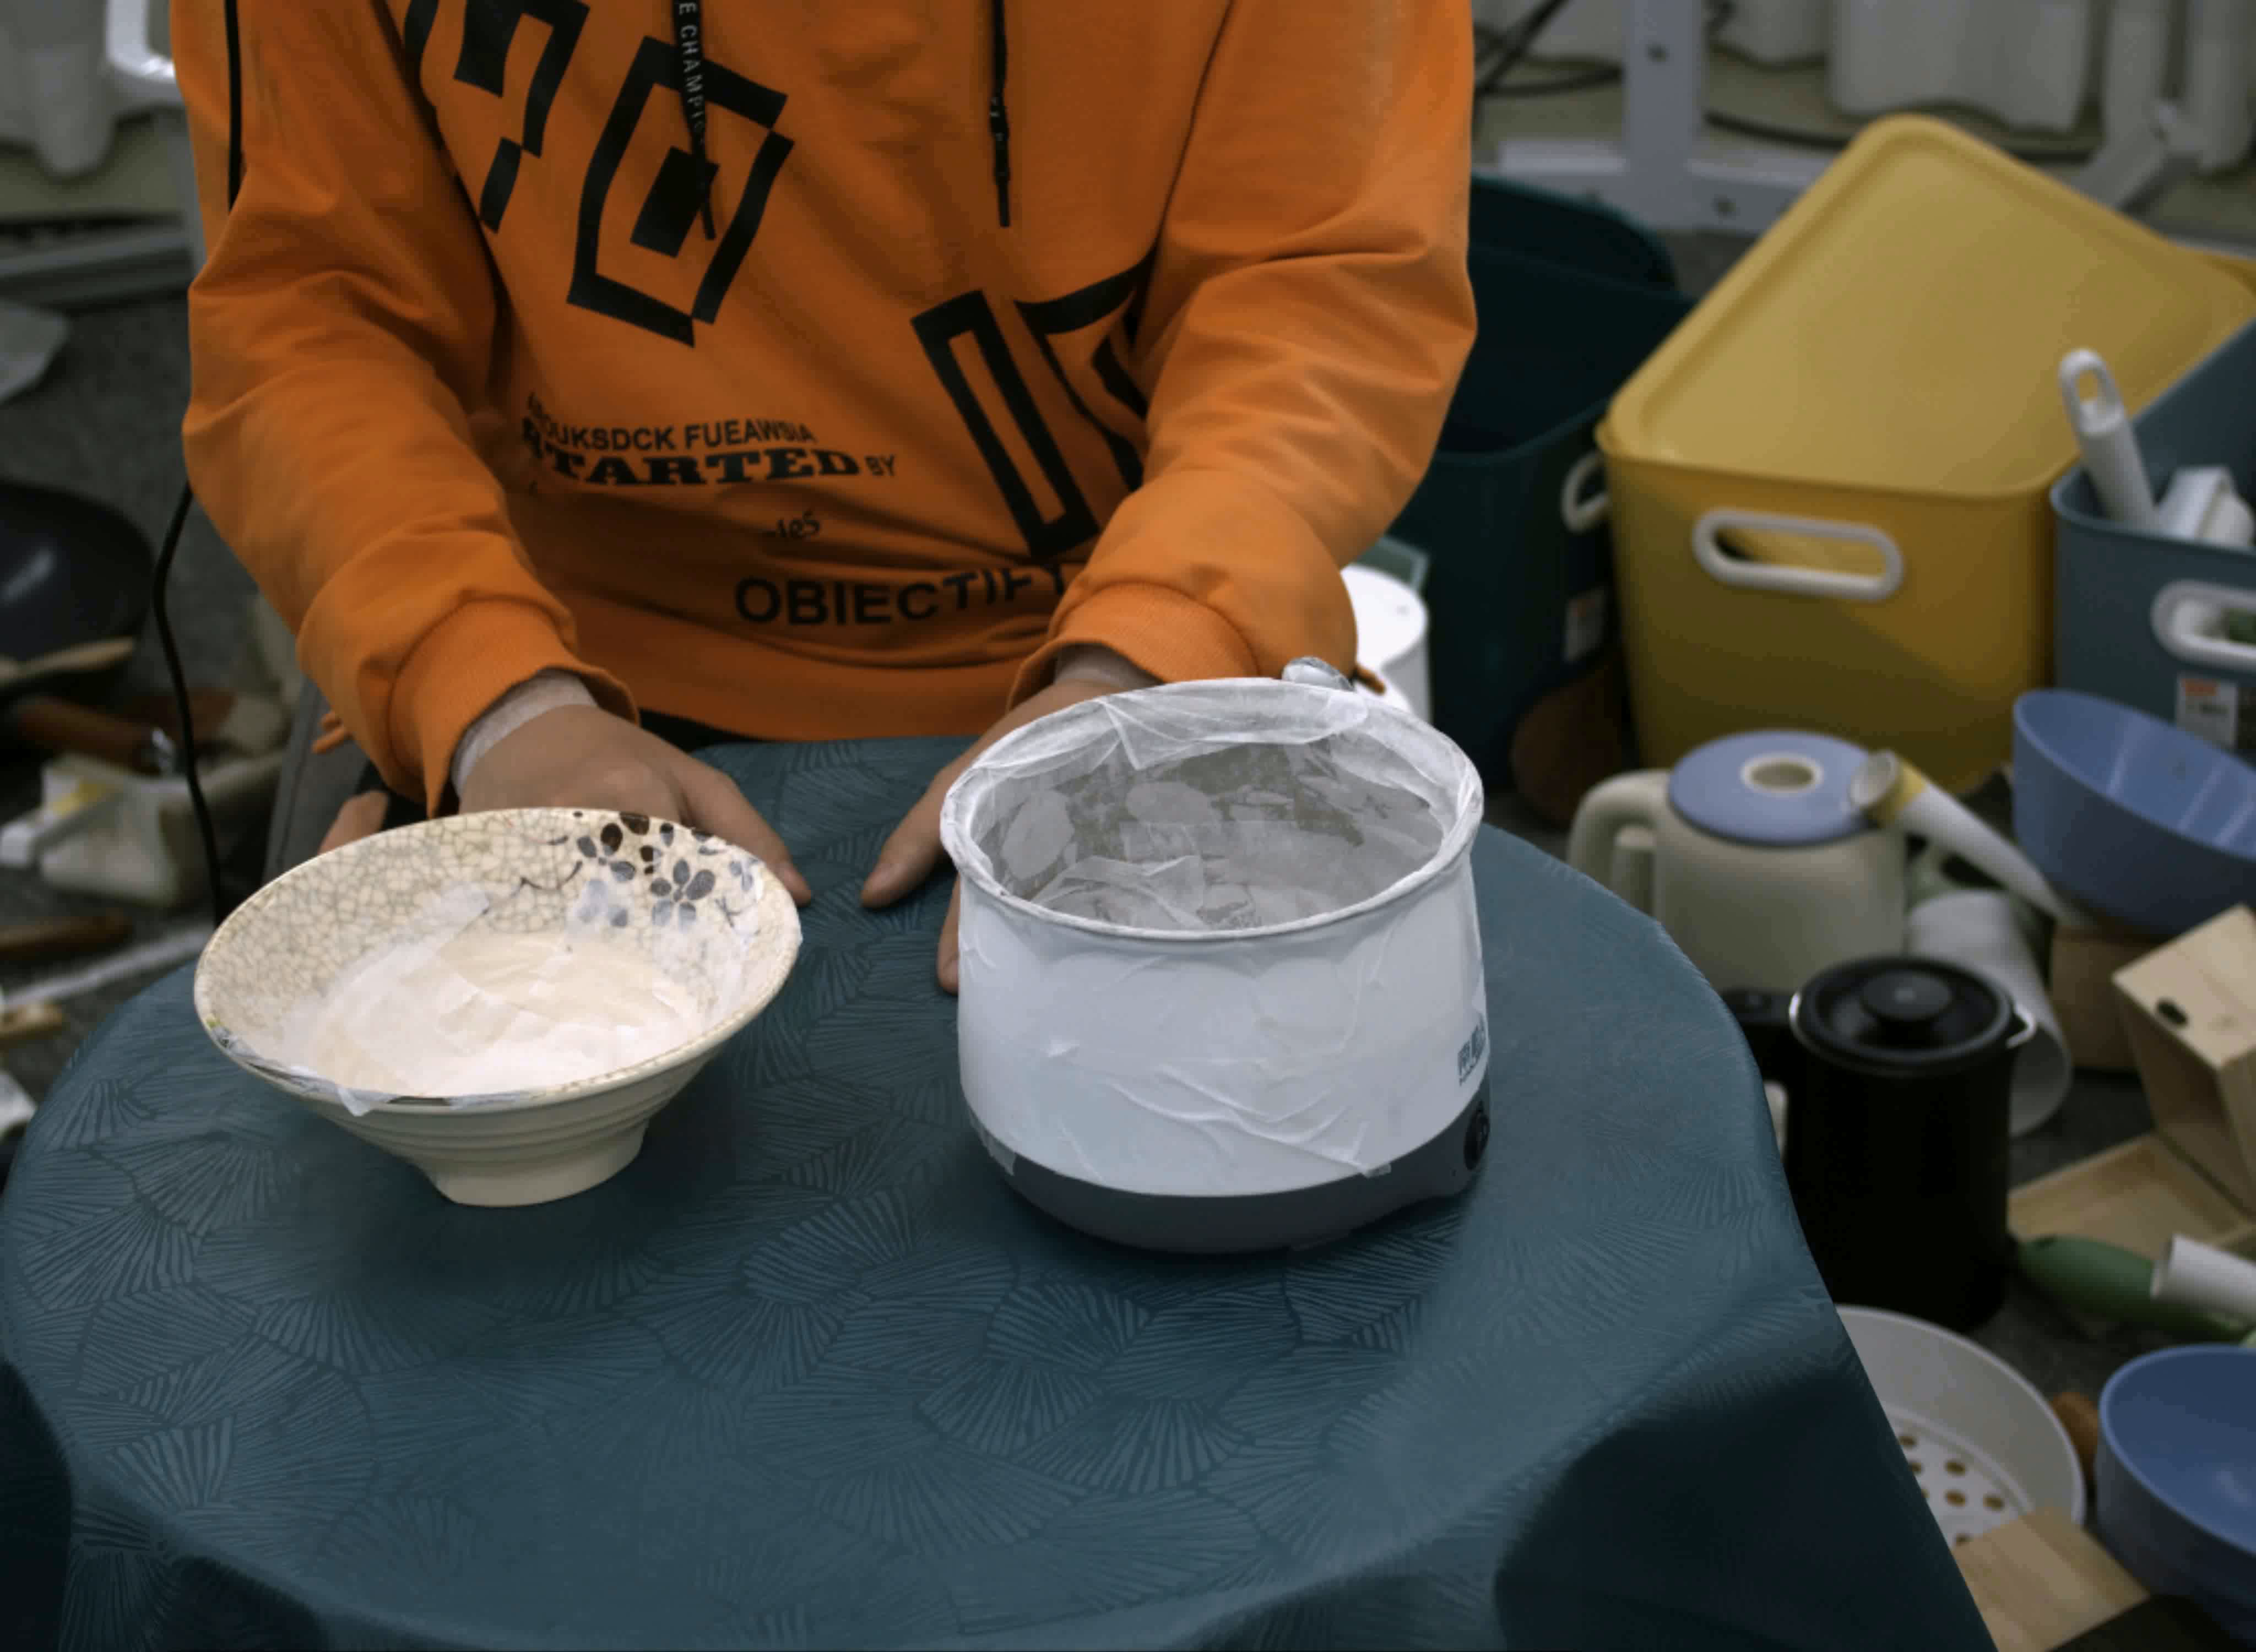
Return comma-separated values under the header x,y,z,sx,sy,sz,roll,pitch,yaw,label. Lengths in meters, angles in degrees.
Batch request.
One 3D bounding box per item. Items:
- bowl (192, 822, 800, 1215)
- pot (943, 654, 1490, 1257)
x,y,z,sx,sy,sz,roll,pitch,yaw,label
-0.208,0.077,1.890,0.203,0.077,0.207,-3,25,2,bowl
0.039,0.035,1.877,0.177,0.135,0.238,7,29,17,pot
